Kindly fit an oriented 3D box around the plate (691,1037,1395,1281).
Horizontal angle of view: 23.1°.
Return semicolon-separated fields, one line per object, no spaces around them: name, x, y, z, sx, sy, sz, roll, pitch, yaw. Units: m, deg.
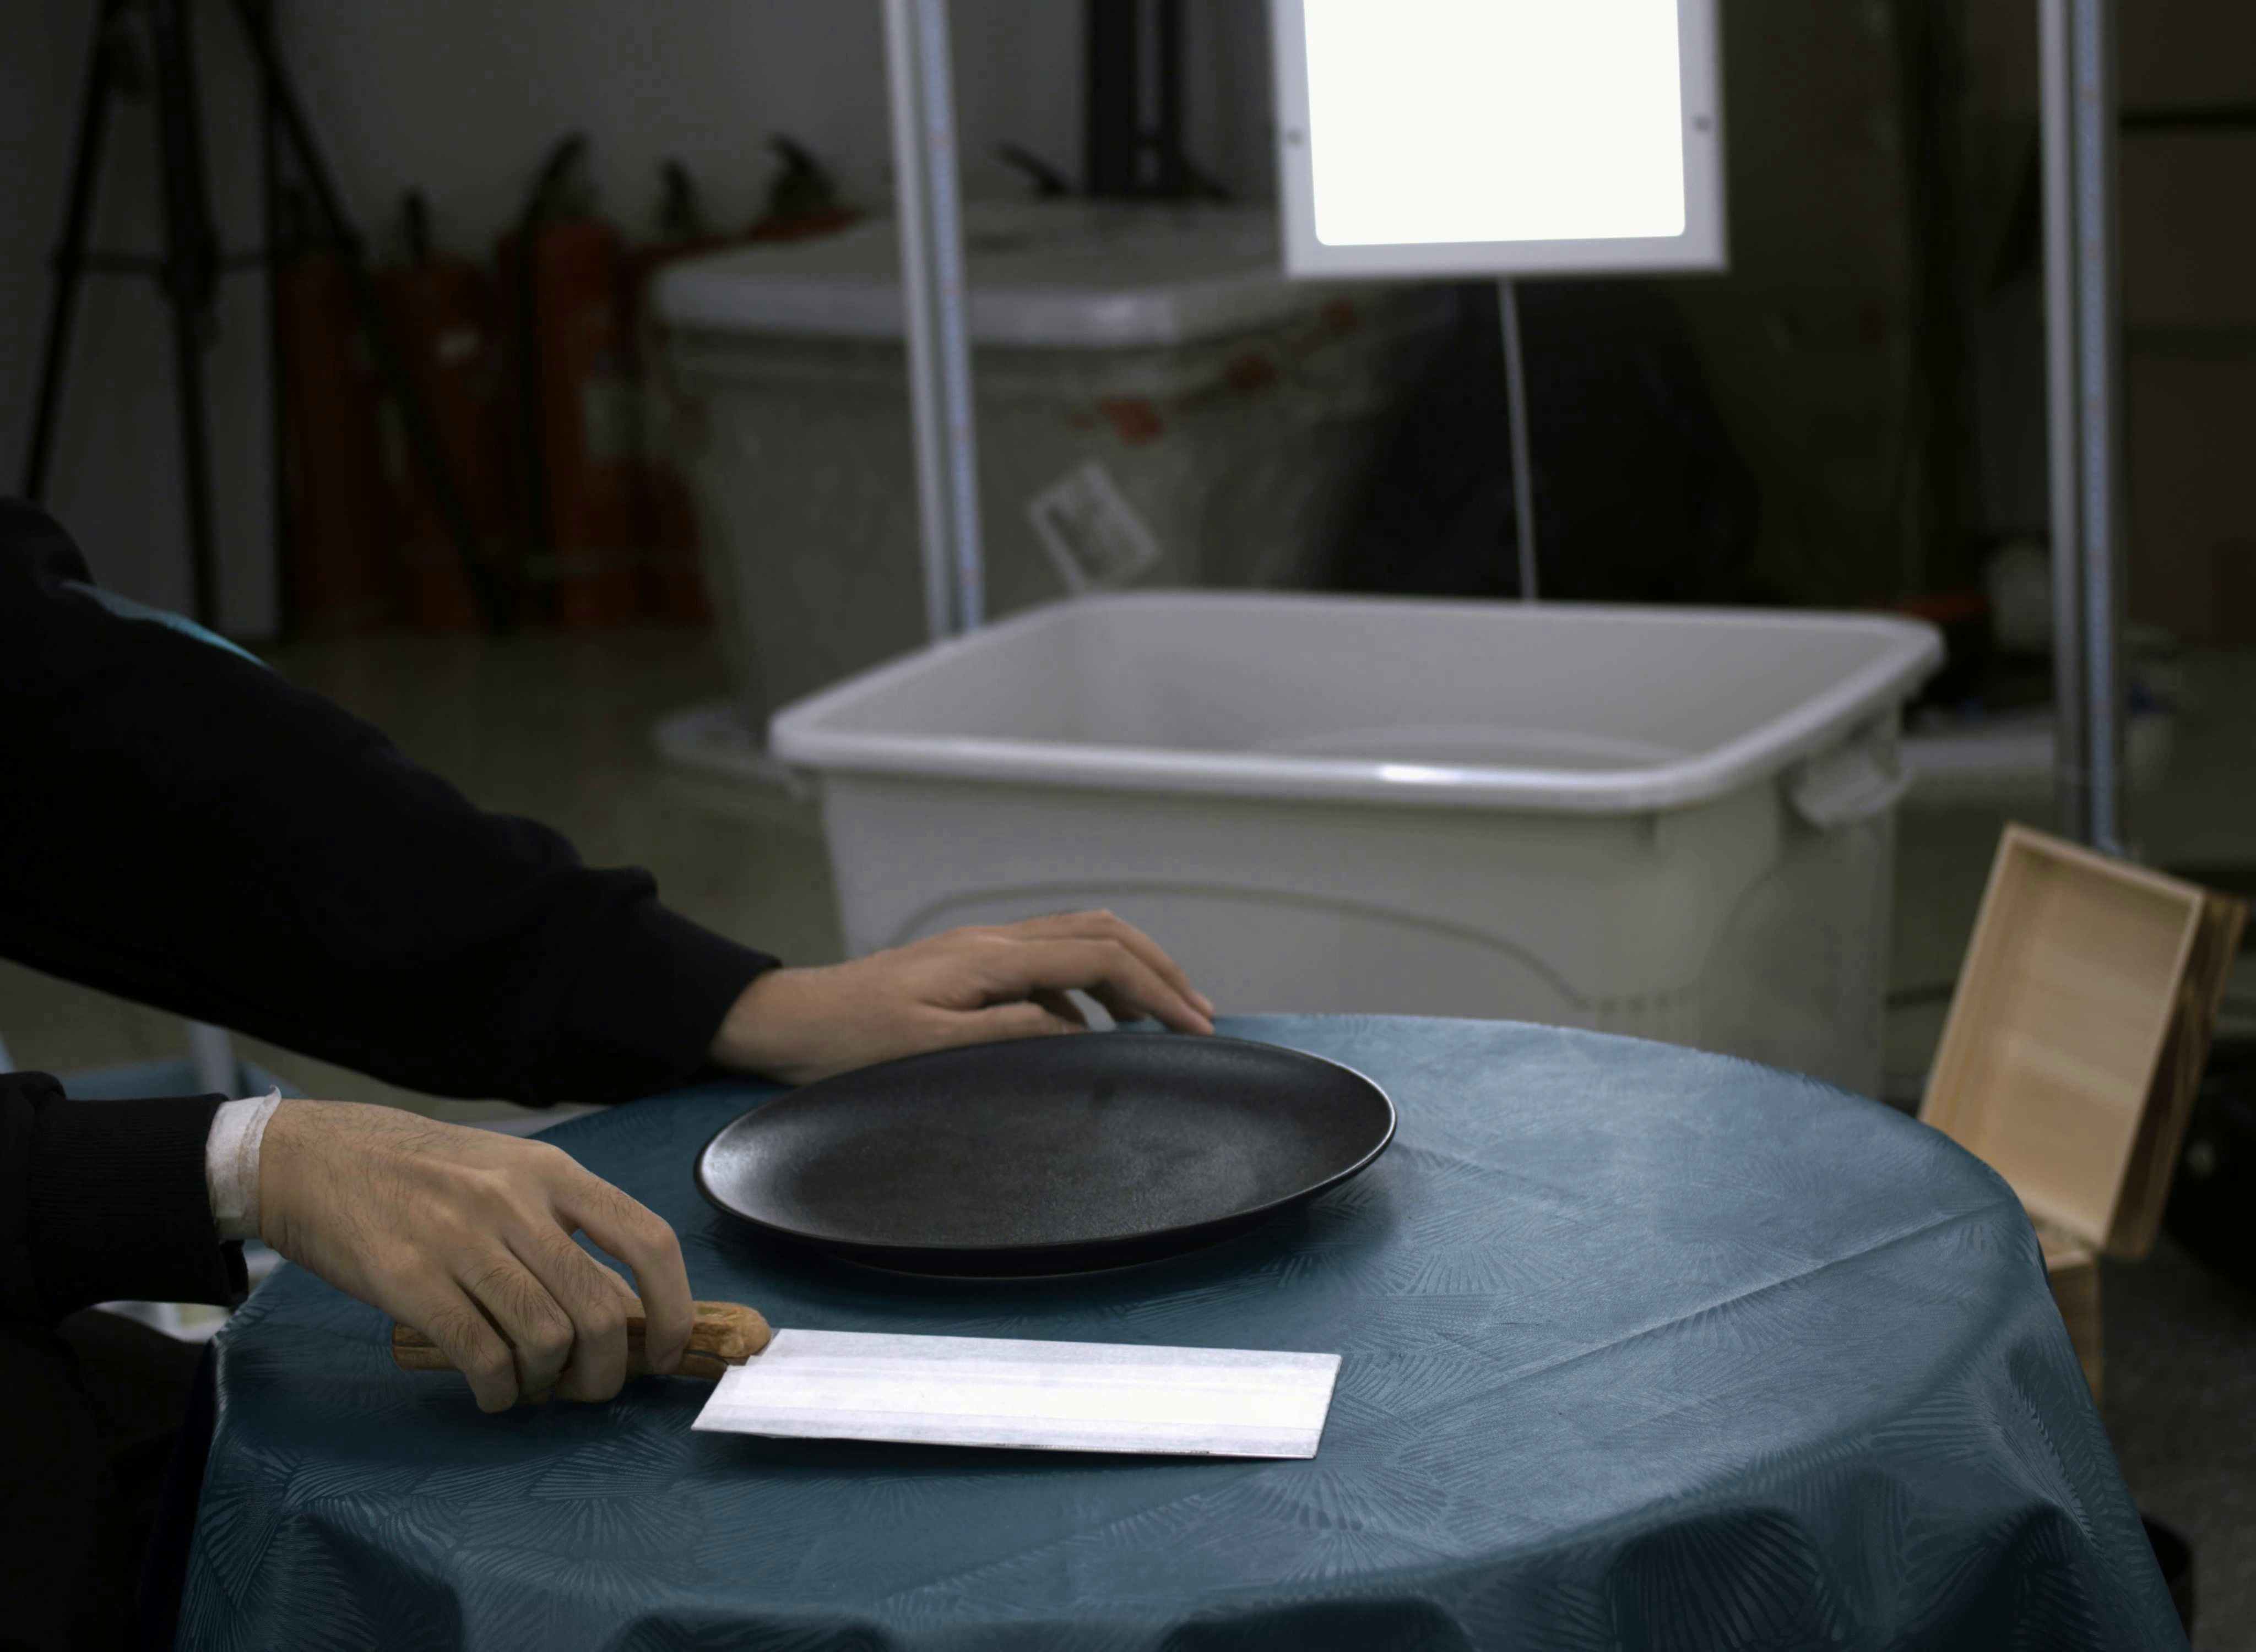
plate;-0.028;0.117;1.897;0.244;0.023;0.244;-5;14;0

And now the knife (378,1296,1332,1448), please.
knife;-0.089;0.171;1.698;0.307;0.021;0.092;2;15;10
